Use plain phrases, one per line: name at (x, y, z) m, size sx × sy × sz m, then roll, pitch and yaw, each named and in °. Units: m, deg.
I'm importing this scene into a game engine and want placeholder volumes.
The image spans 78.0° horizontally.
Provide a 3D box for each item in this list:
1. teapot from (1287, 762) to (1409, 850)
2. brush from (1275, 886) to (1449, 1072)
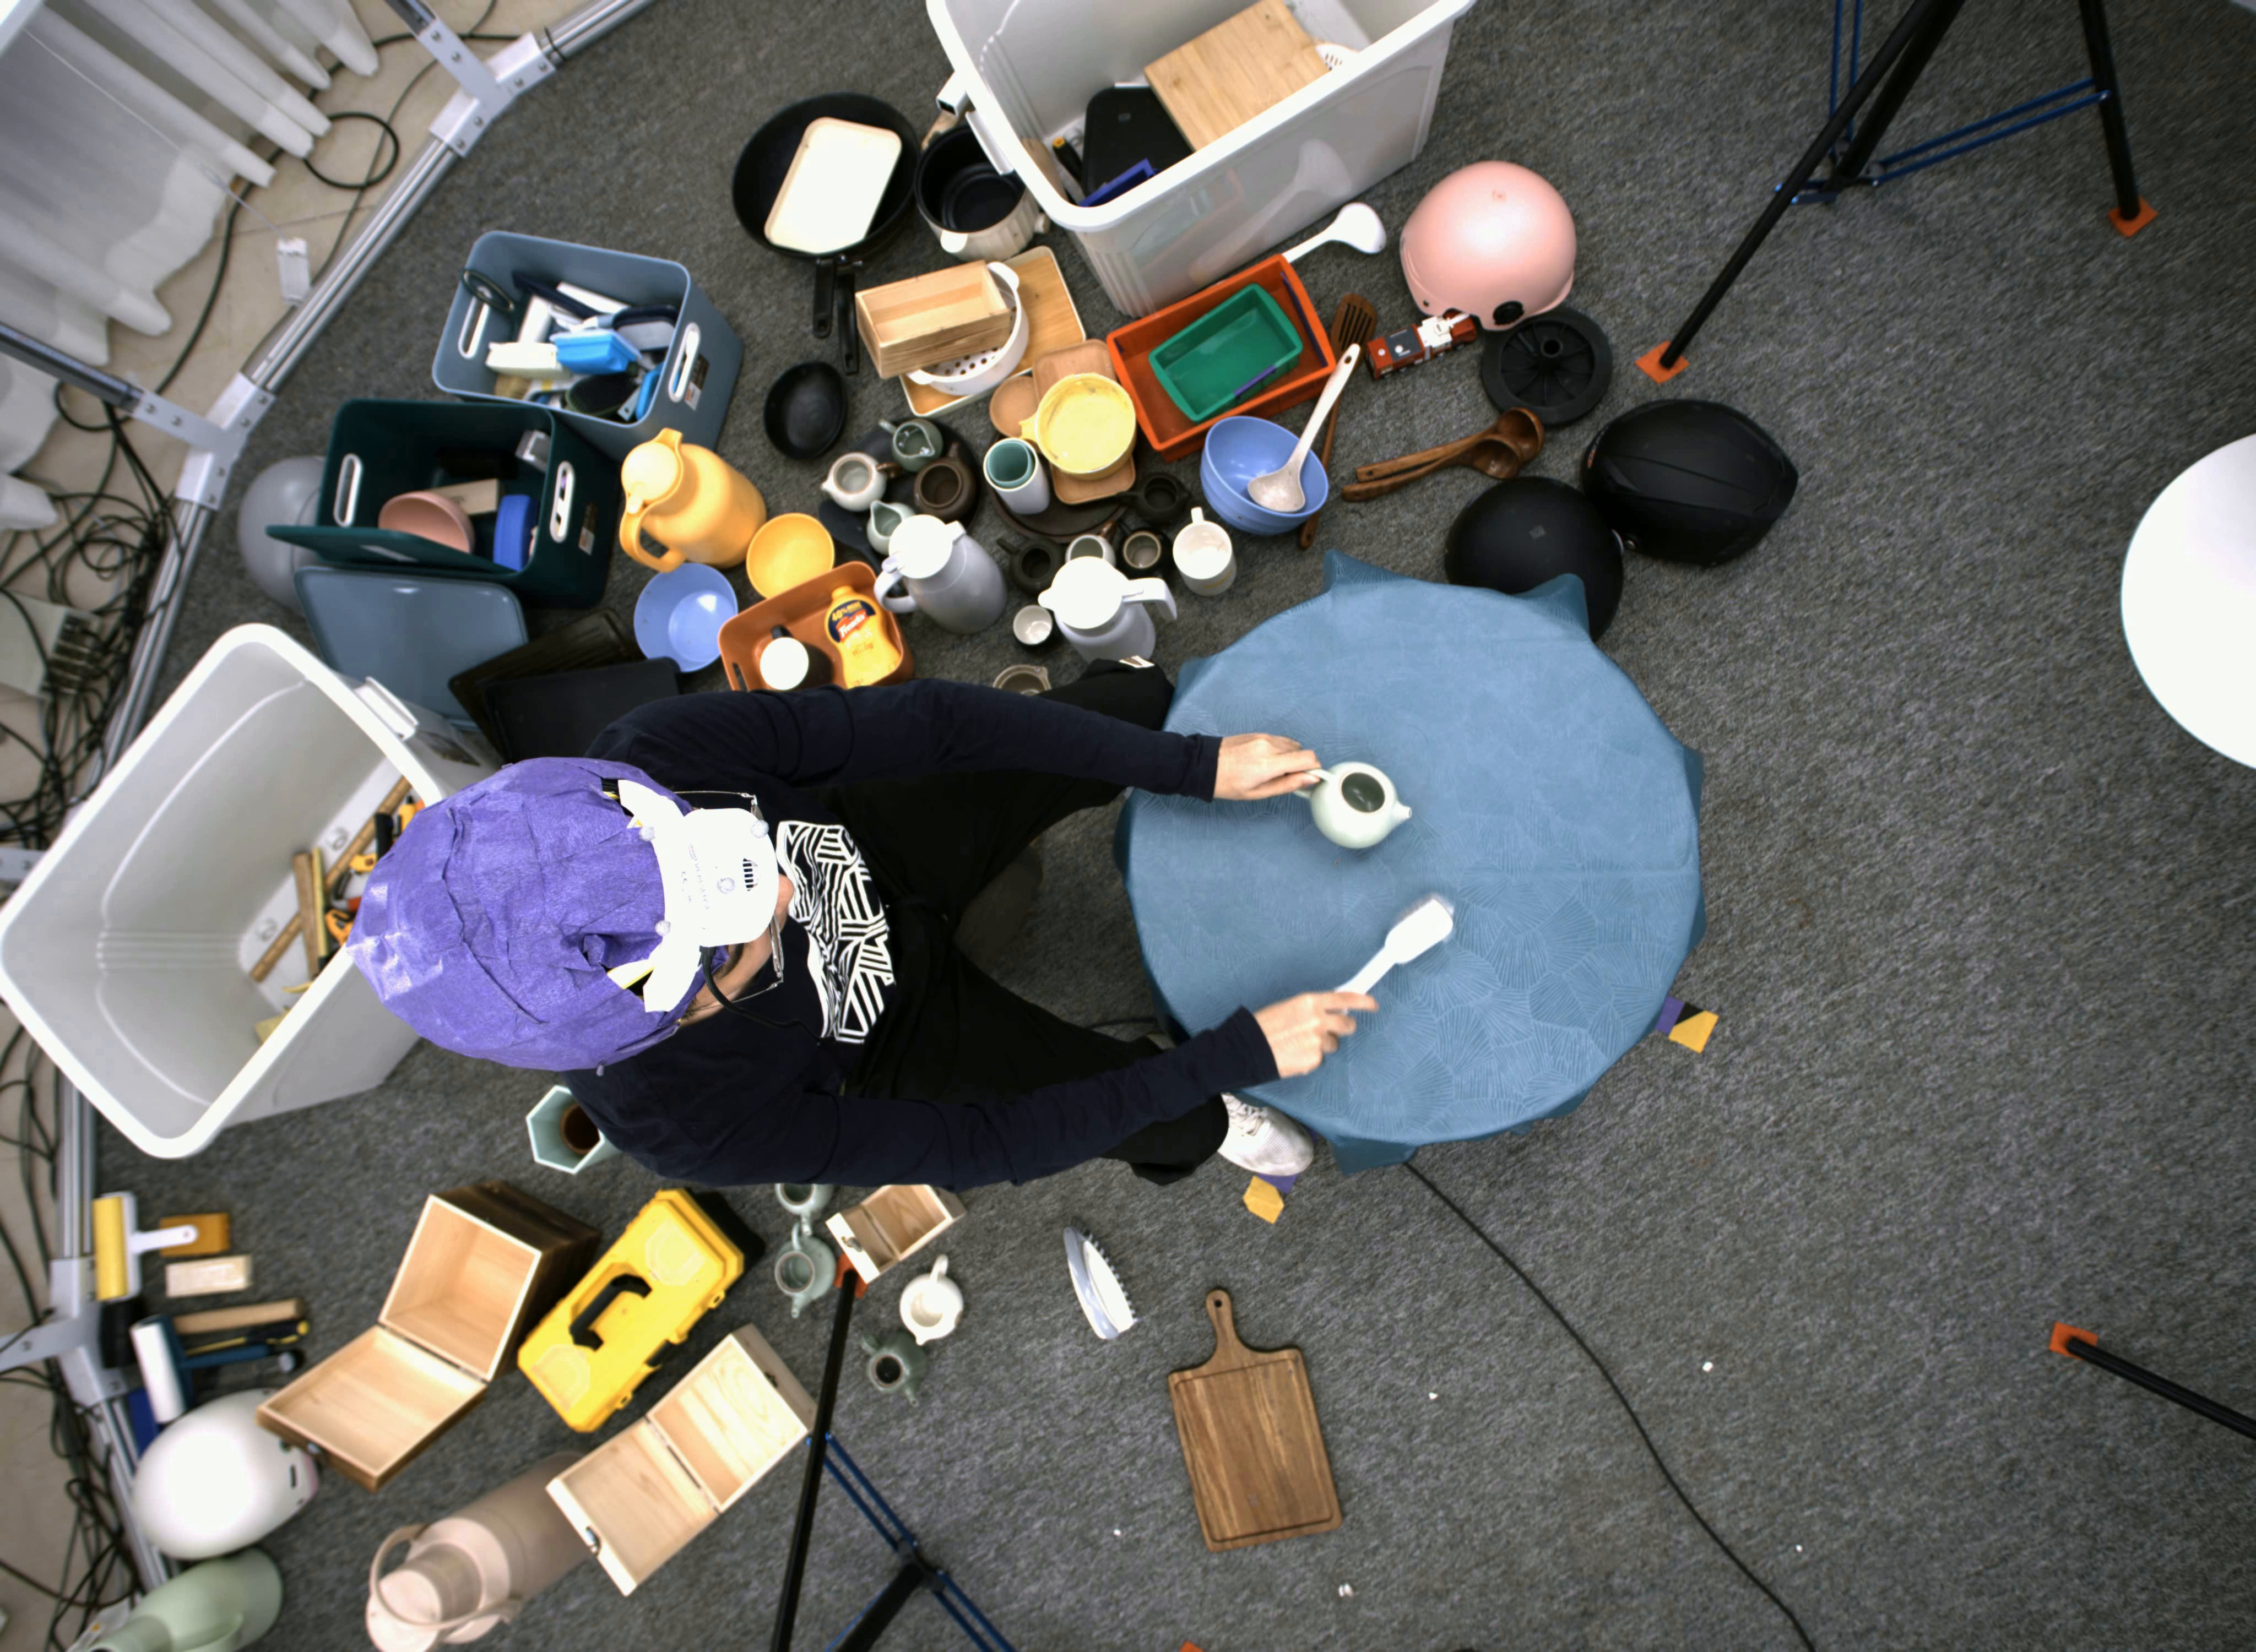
teapot at (0.222, -0.026, 1.411) m, size 0.128 × 0.062 × 0.089 m, roll 28°, pitch 66°, yaw 0°
brush at (0.233, 0.153, 1.402) m, size 0.243 × 0.050 × 0.034 m, roll -45°, pitch 104°, yaw -2°
